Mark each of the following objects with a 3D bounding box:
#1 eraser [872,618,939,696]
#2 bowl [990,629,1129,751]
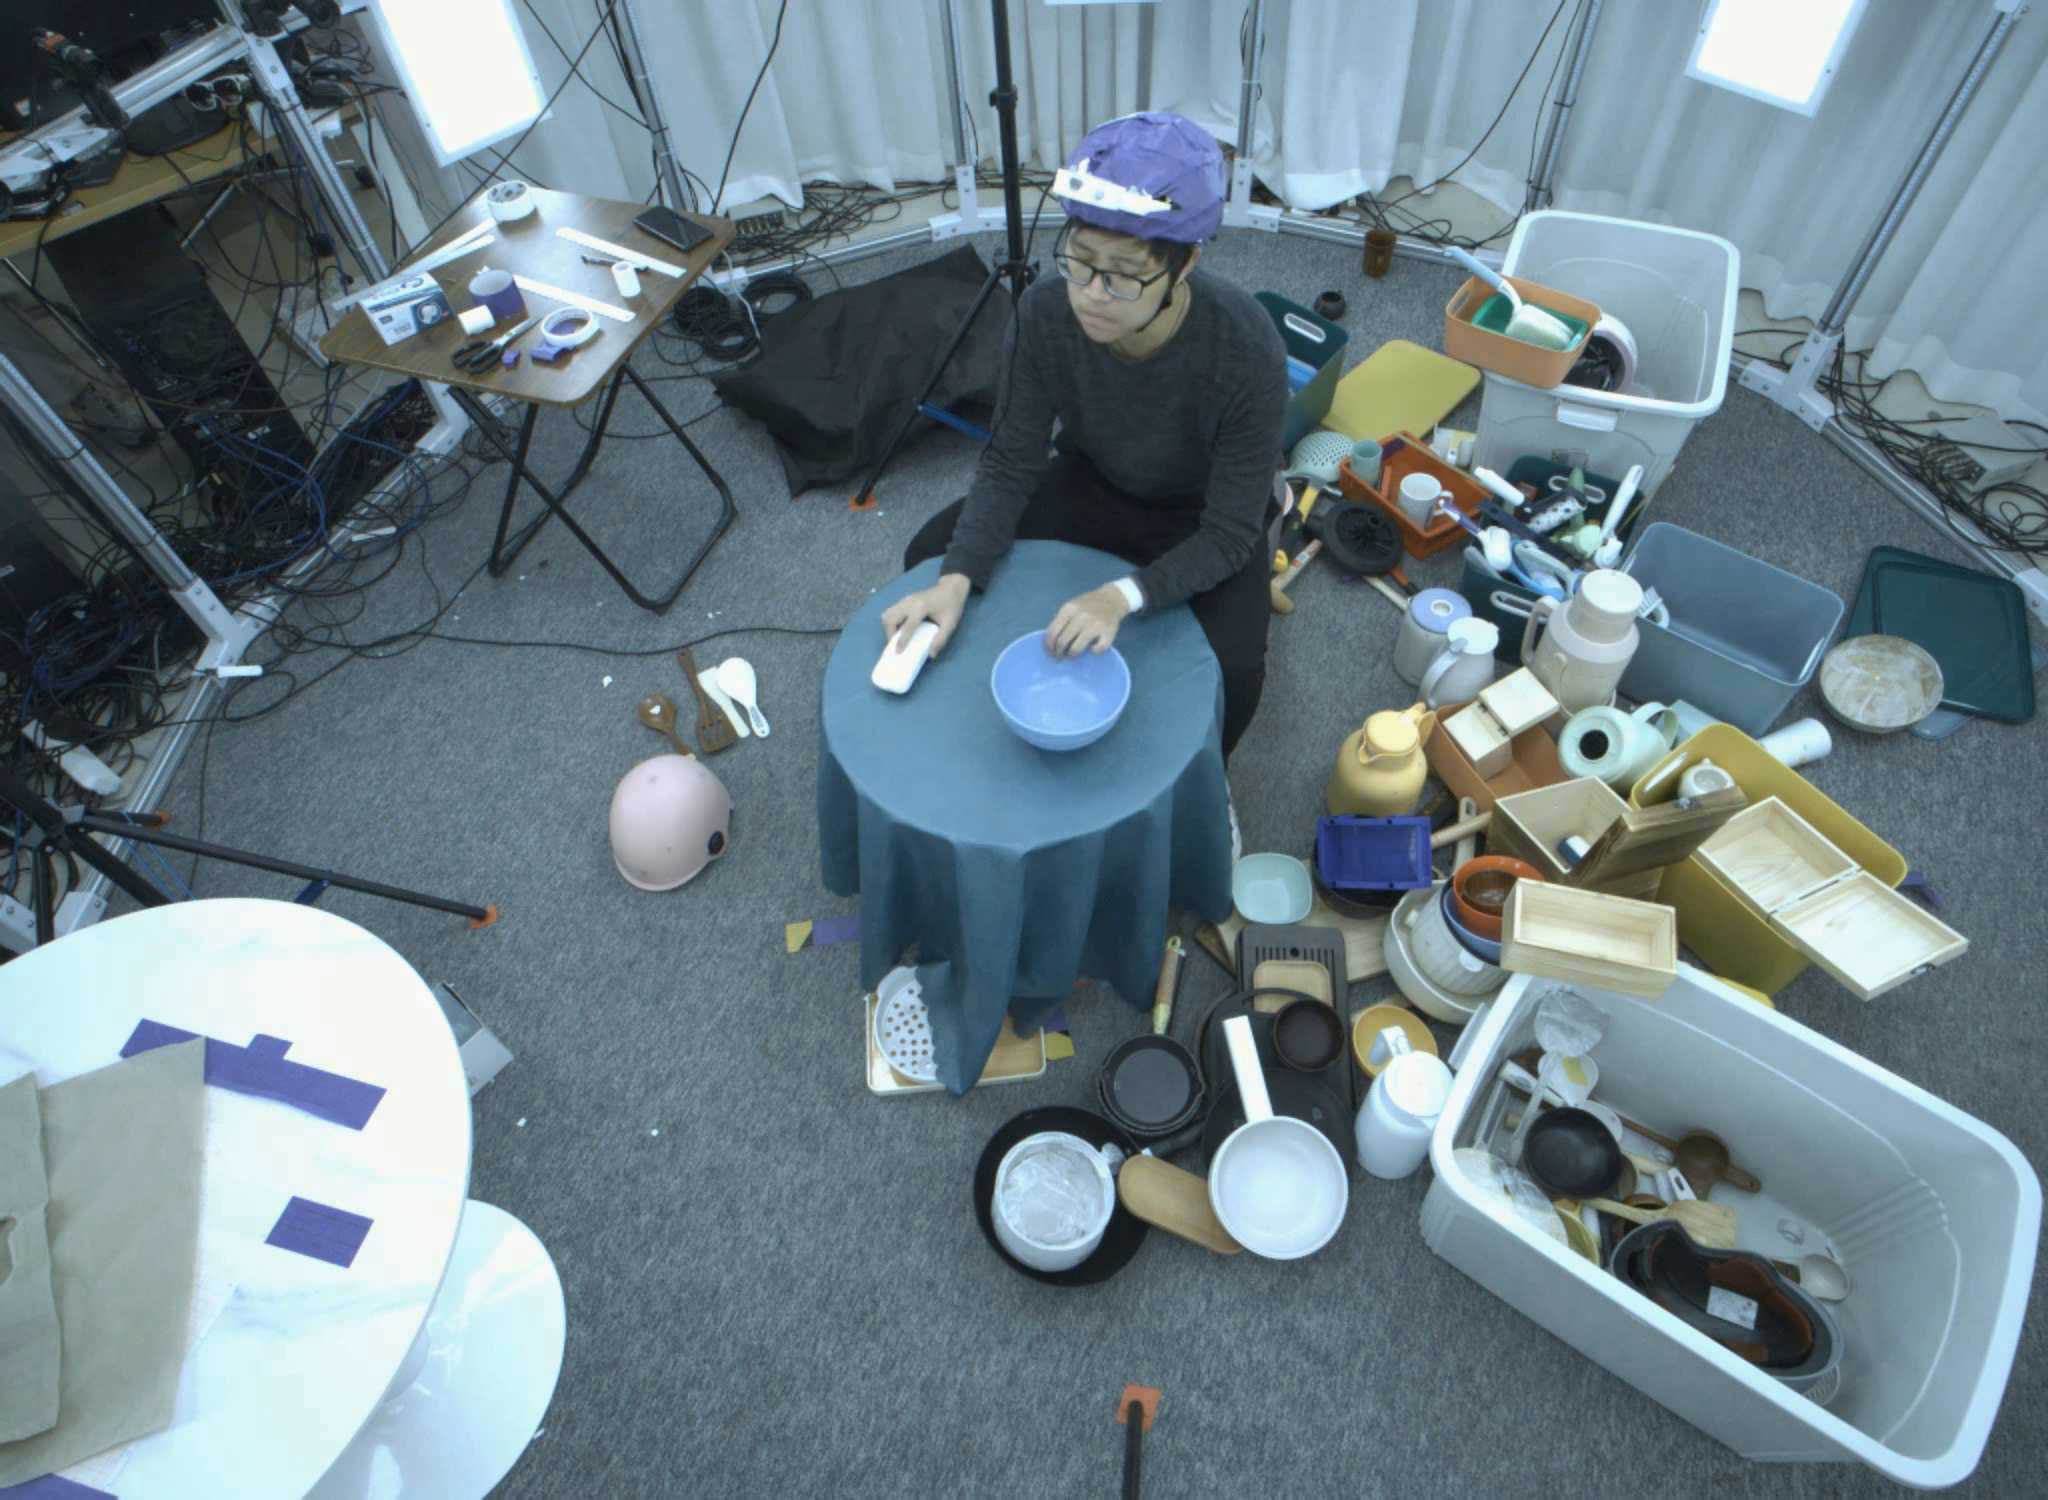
[{"bbox_3d":[-0.179,-0.144,1.870,0.062,0.035,0.131,17,63,19],"label":"eraser"},{"bbox_3d":[0.051,-0.072,1.777,0.196,0.096,0.194,0,55,1],"label":"bowl"}]
